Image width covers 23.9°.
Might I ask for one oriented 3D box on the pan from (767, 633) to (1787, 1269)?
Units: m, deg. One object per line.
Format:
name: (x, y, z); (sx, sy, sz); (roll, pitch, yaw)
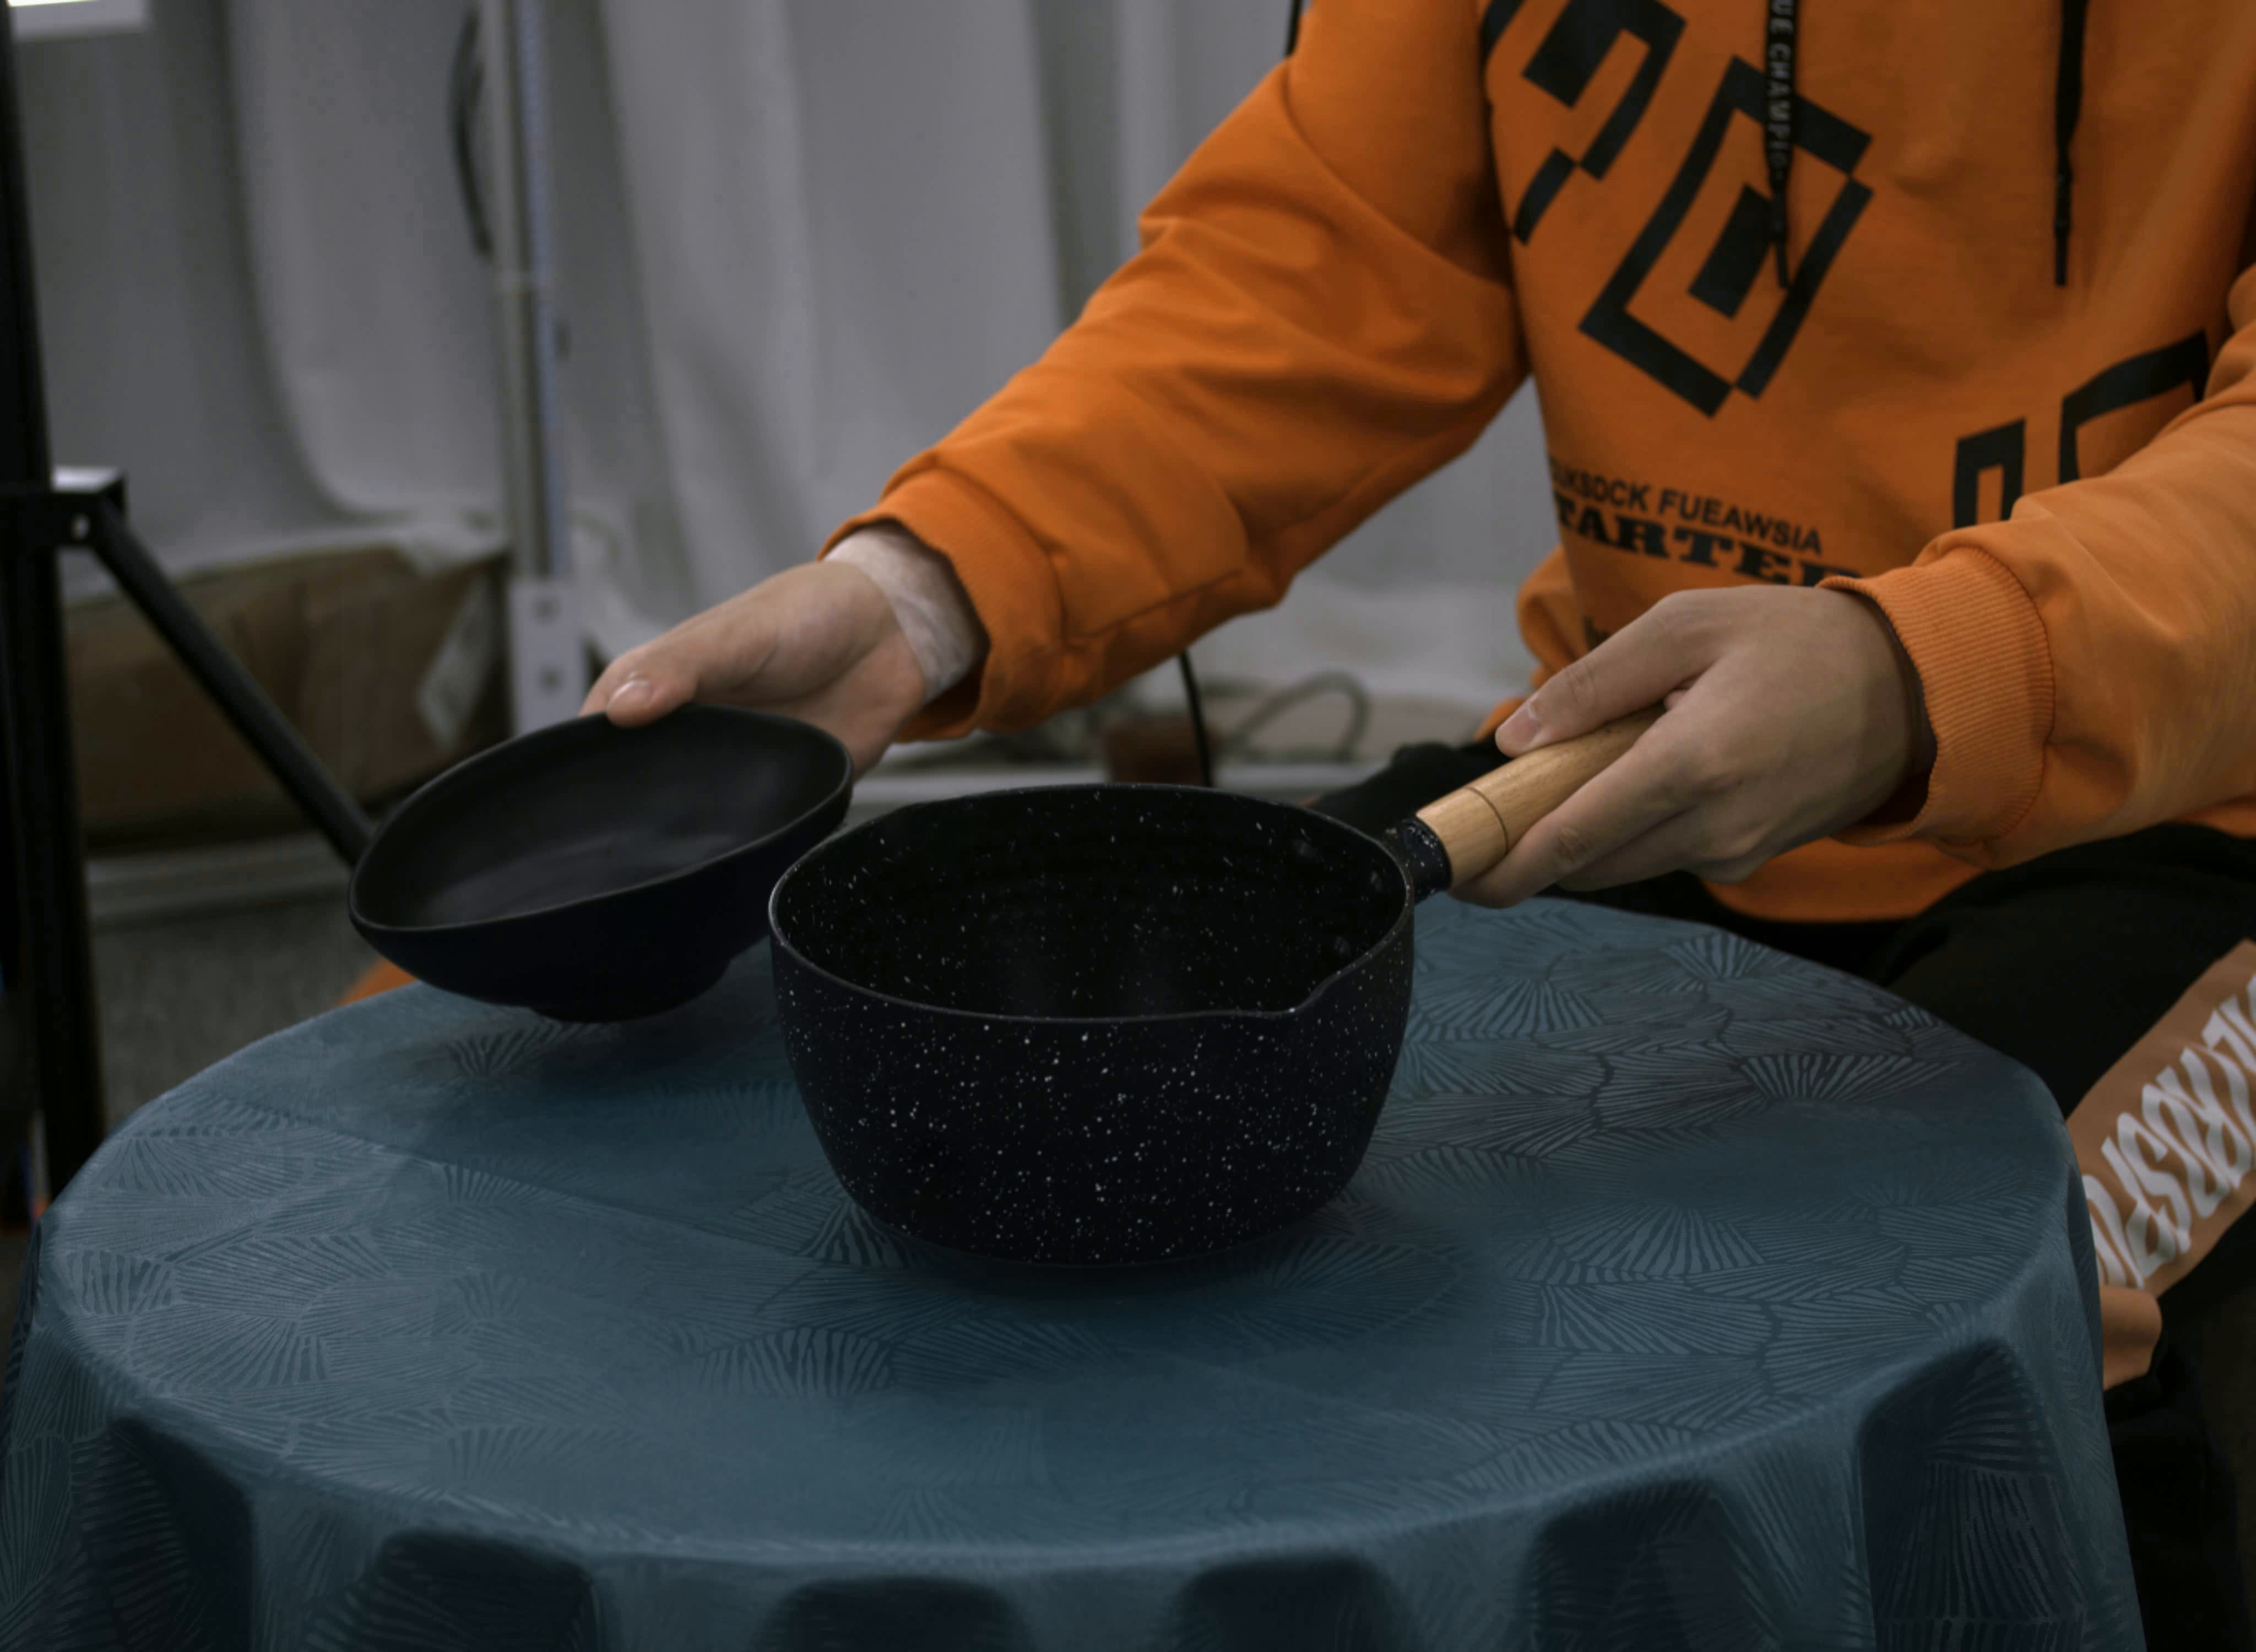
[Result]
pan: (0.055, 0.030, 1.559); (0.335, 0.108, 0.212); (-16, 24, -30)

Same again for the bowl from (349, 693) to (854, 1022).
bowl: (-0.165, 0.020, 1.721); (0.168, 0.066, 0.140); (-20, 27, -16)
